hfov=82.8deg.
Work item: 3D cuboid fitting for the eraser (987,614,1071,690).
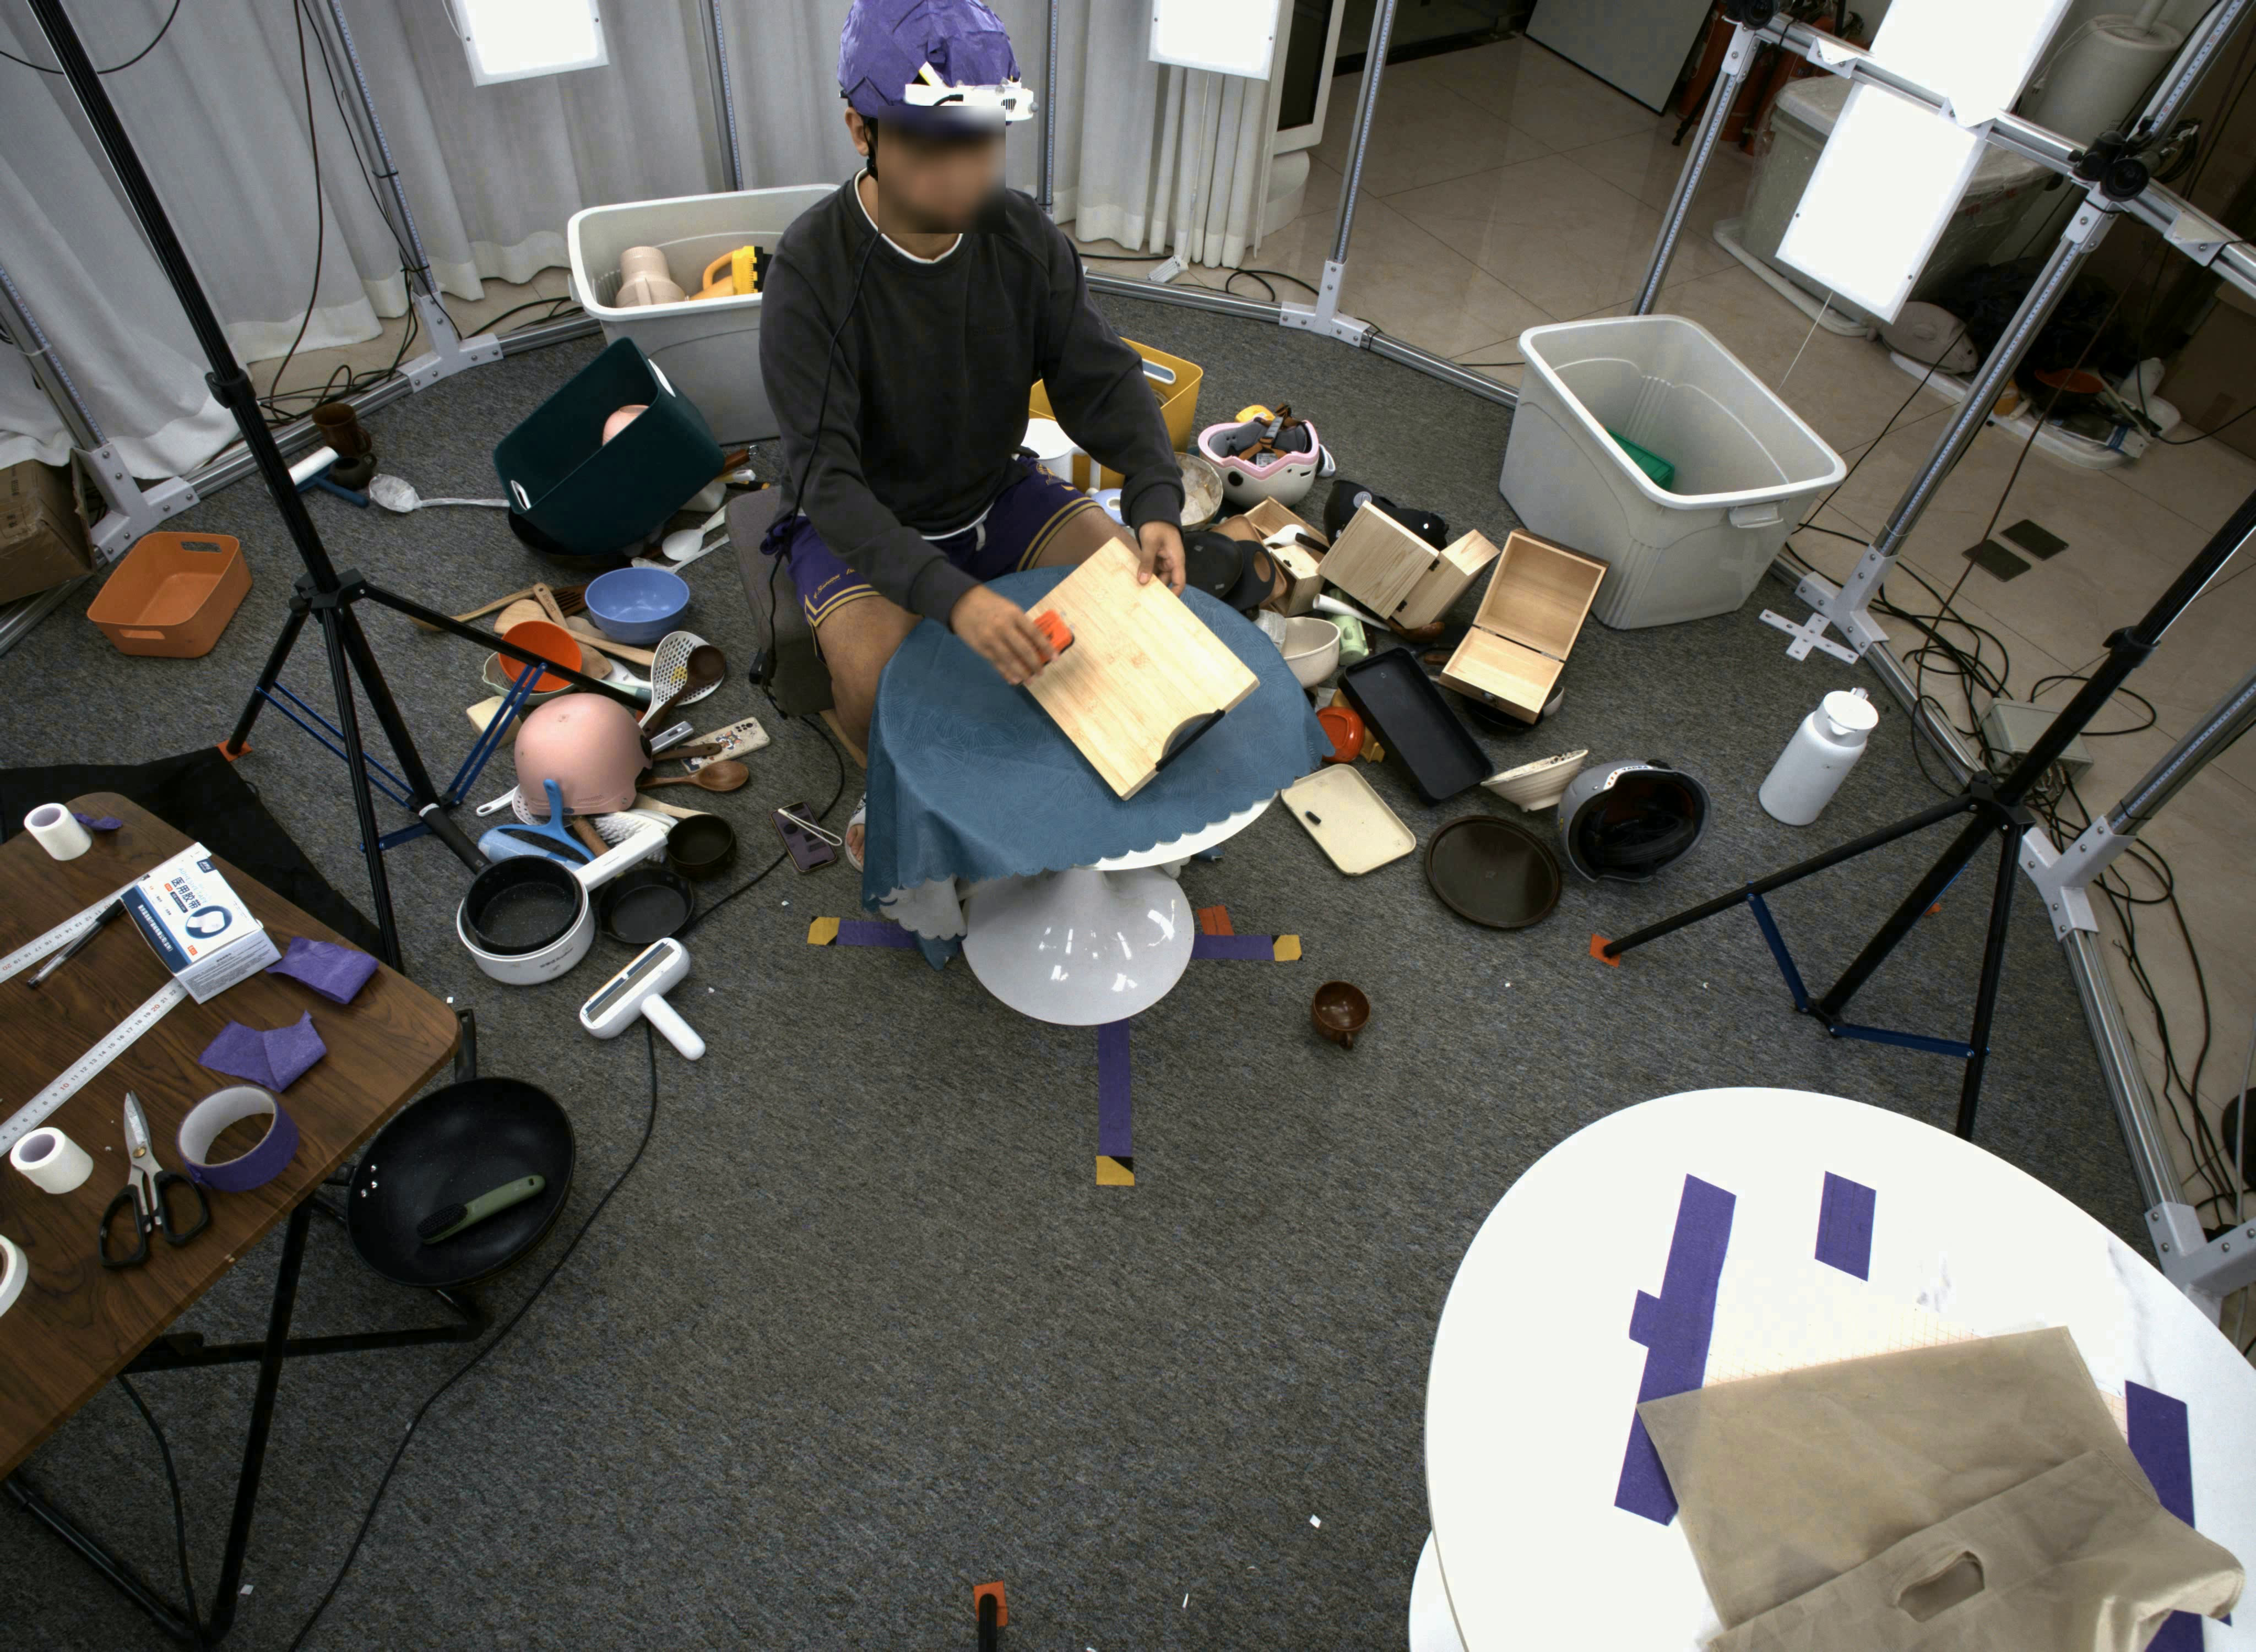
[{"bbox_3d":[-0.134,-0.235,1.739,0.108,0.022,0.060,-34,59,4],"label":"eraser"}]

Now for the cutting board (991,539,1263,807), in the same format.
[{"bbox_3d":[-0.009,-0.221,1.774,0.250,0.023,0.355,-41,58,0],"label":"cutting board"}]
